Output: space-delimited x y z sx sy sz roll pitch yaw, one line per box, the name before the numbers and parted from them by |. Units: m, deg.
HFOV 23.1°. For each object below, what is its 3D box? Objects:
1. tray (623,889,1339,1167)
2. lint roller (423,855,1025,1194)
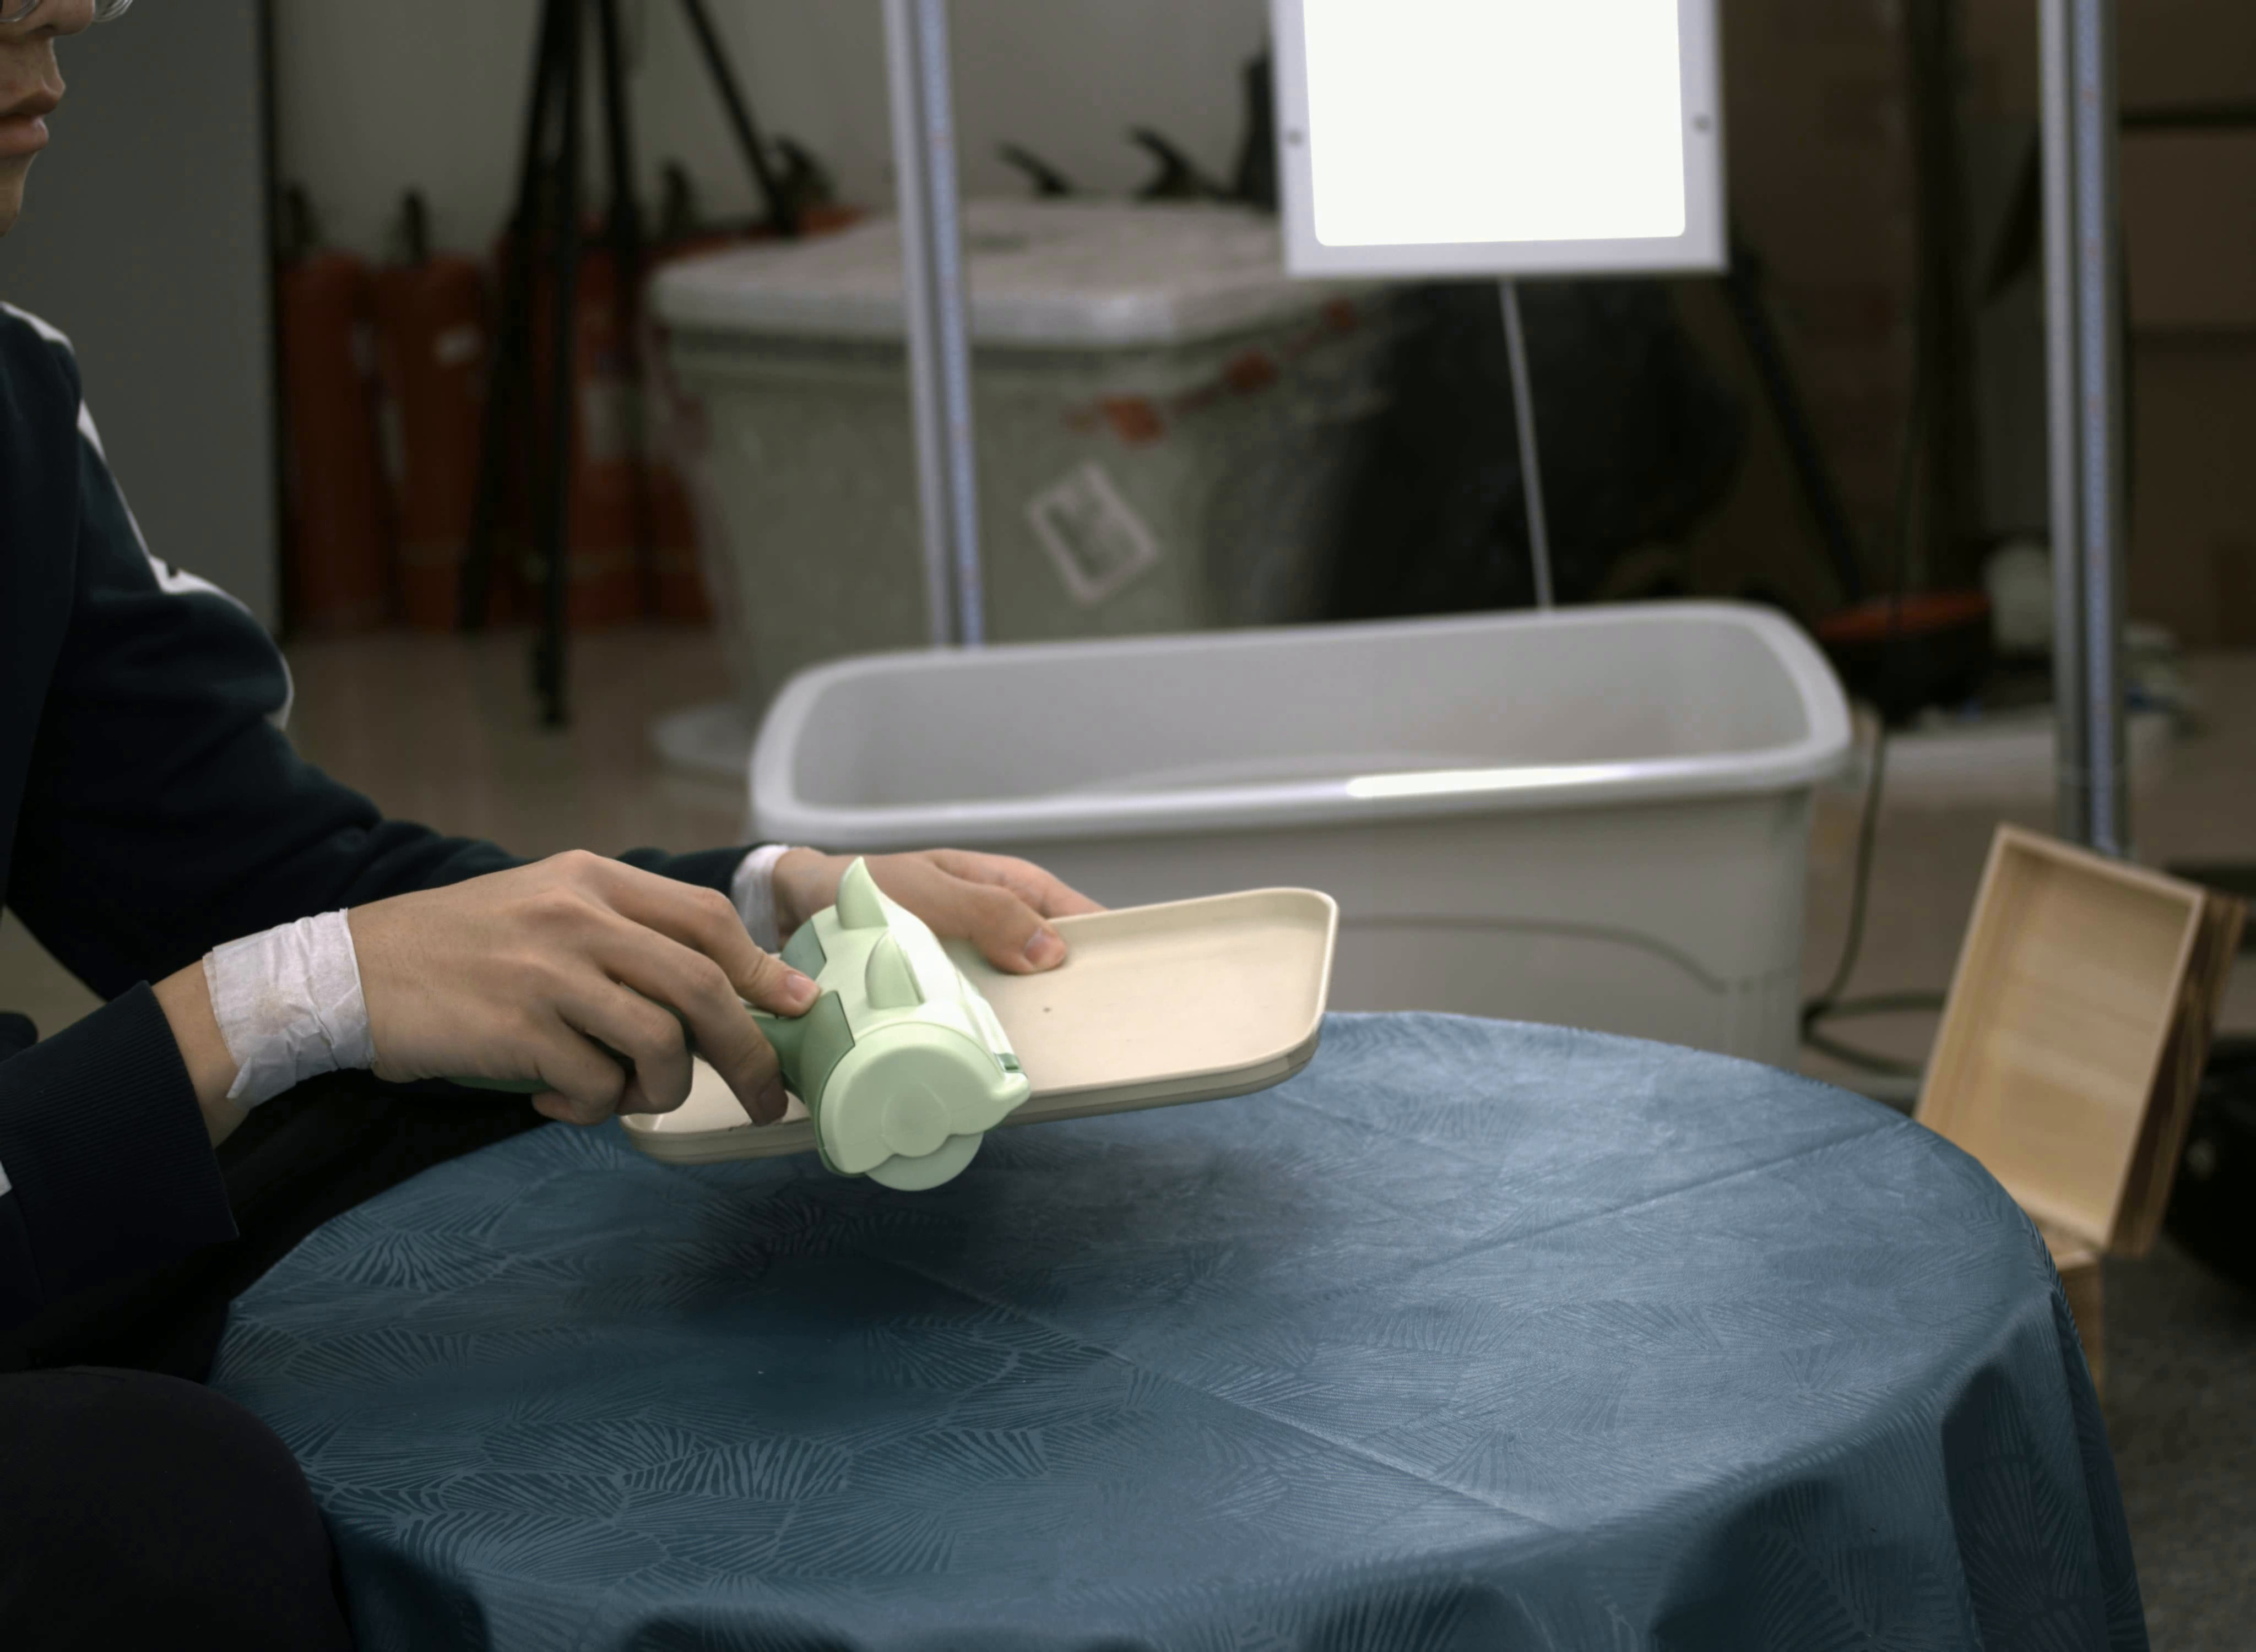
tray | -0.046 0.069 1.869 0.241 0.017 0.170 -8 17 9
lint roller | -0.132 0.054 1.780 0.182 0.082 0.199 9 10 -8
